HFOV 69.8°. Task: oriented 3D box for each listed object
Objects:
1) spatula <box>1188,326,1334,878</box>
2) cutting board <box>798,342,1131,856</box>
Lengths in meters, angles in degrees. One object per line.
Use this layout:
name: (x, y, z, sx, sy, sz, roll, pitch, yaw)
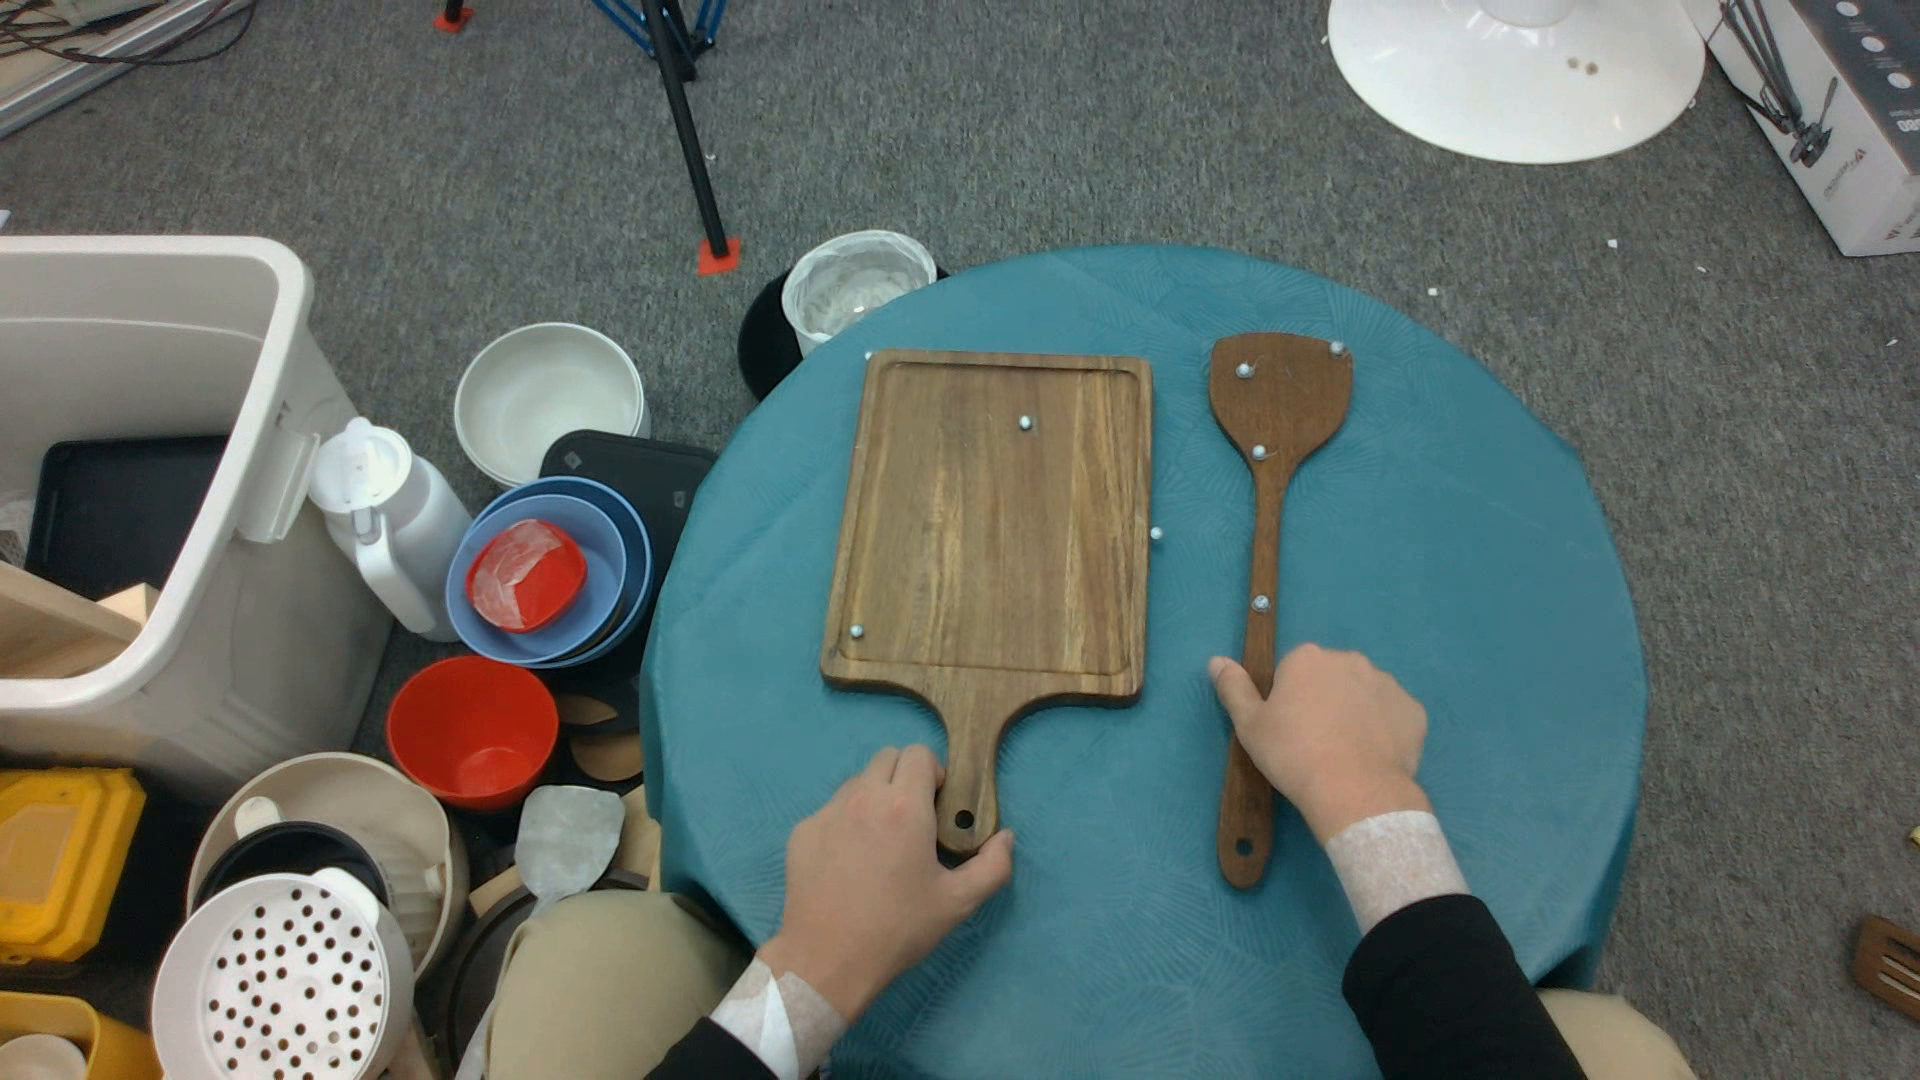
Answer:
spatula: (0.176, 0.018, 0.846, 0.096, 0.016, 0.387, 6, 59, 7)
cutting board: (0.005, 0.021, 0.854, 0.201, 0.023, 0.353, 2, 60, 5)
